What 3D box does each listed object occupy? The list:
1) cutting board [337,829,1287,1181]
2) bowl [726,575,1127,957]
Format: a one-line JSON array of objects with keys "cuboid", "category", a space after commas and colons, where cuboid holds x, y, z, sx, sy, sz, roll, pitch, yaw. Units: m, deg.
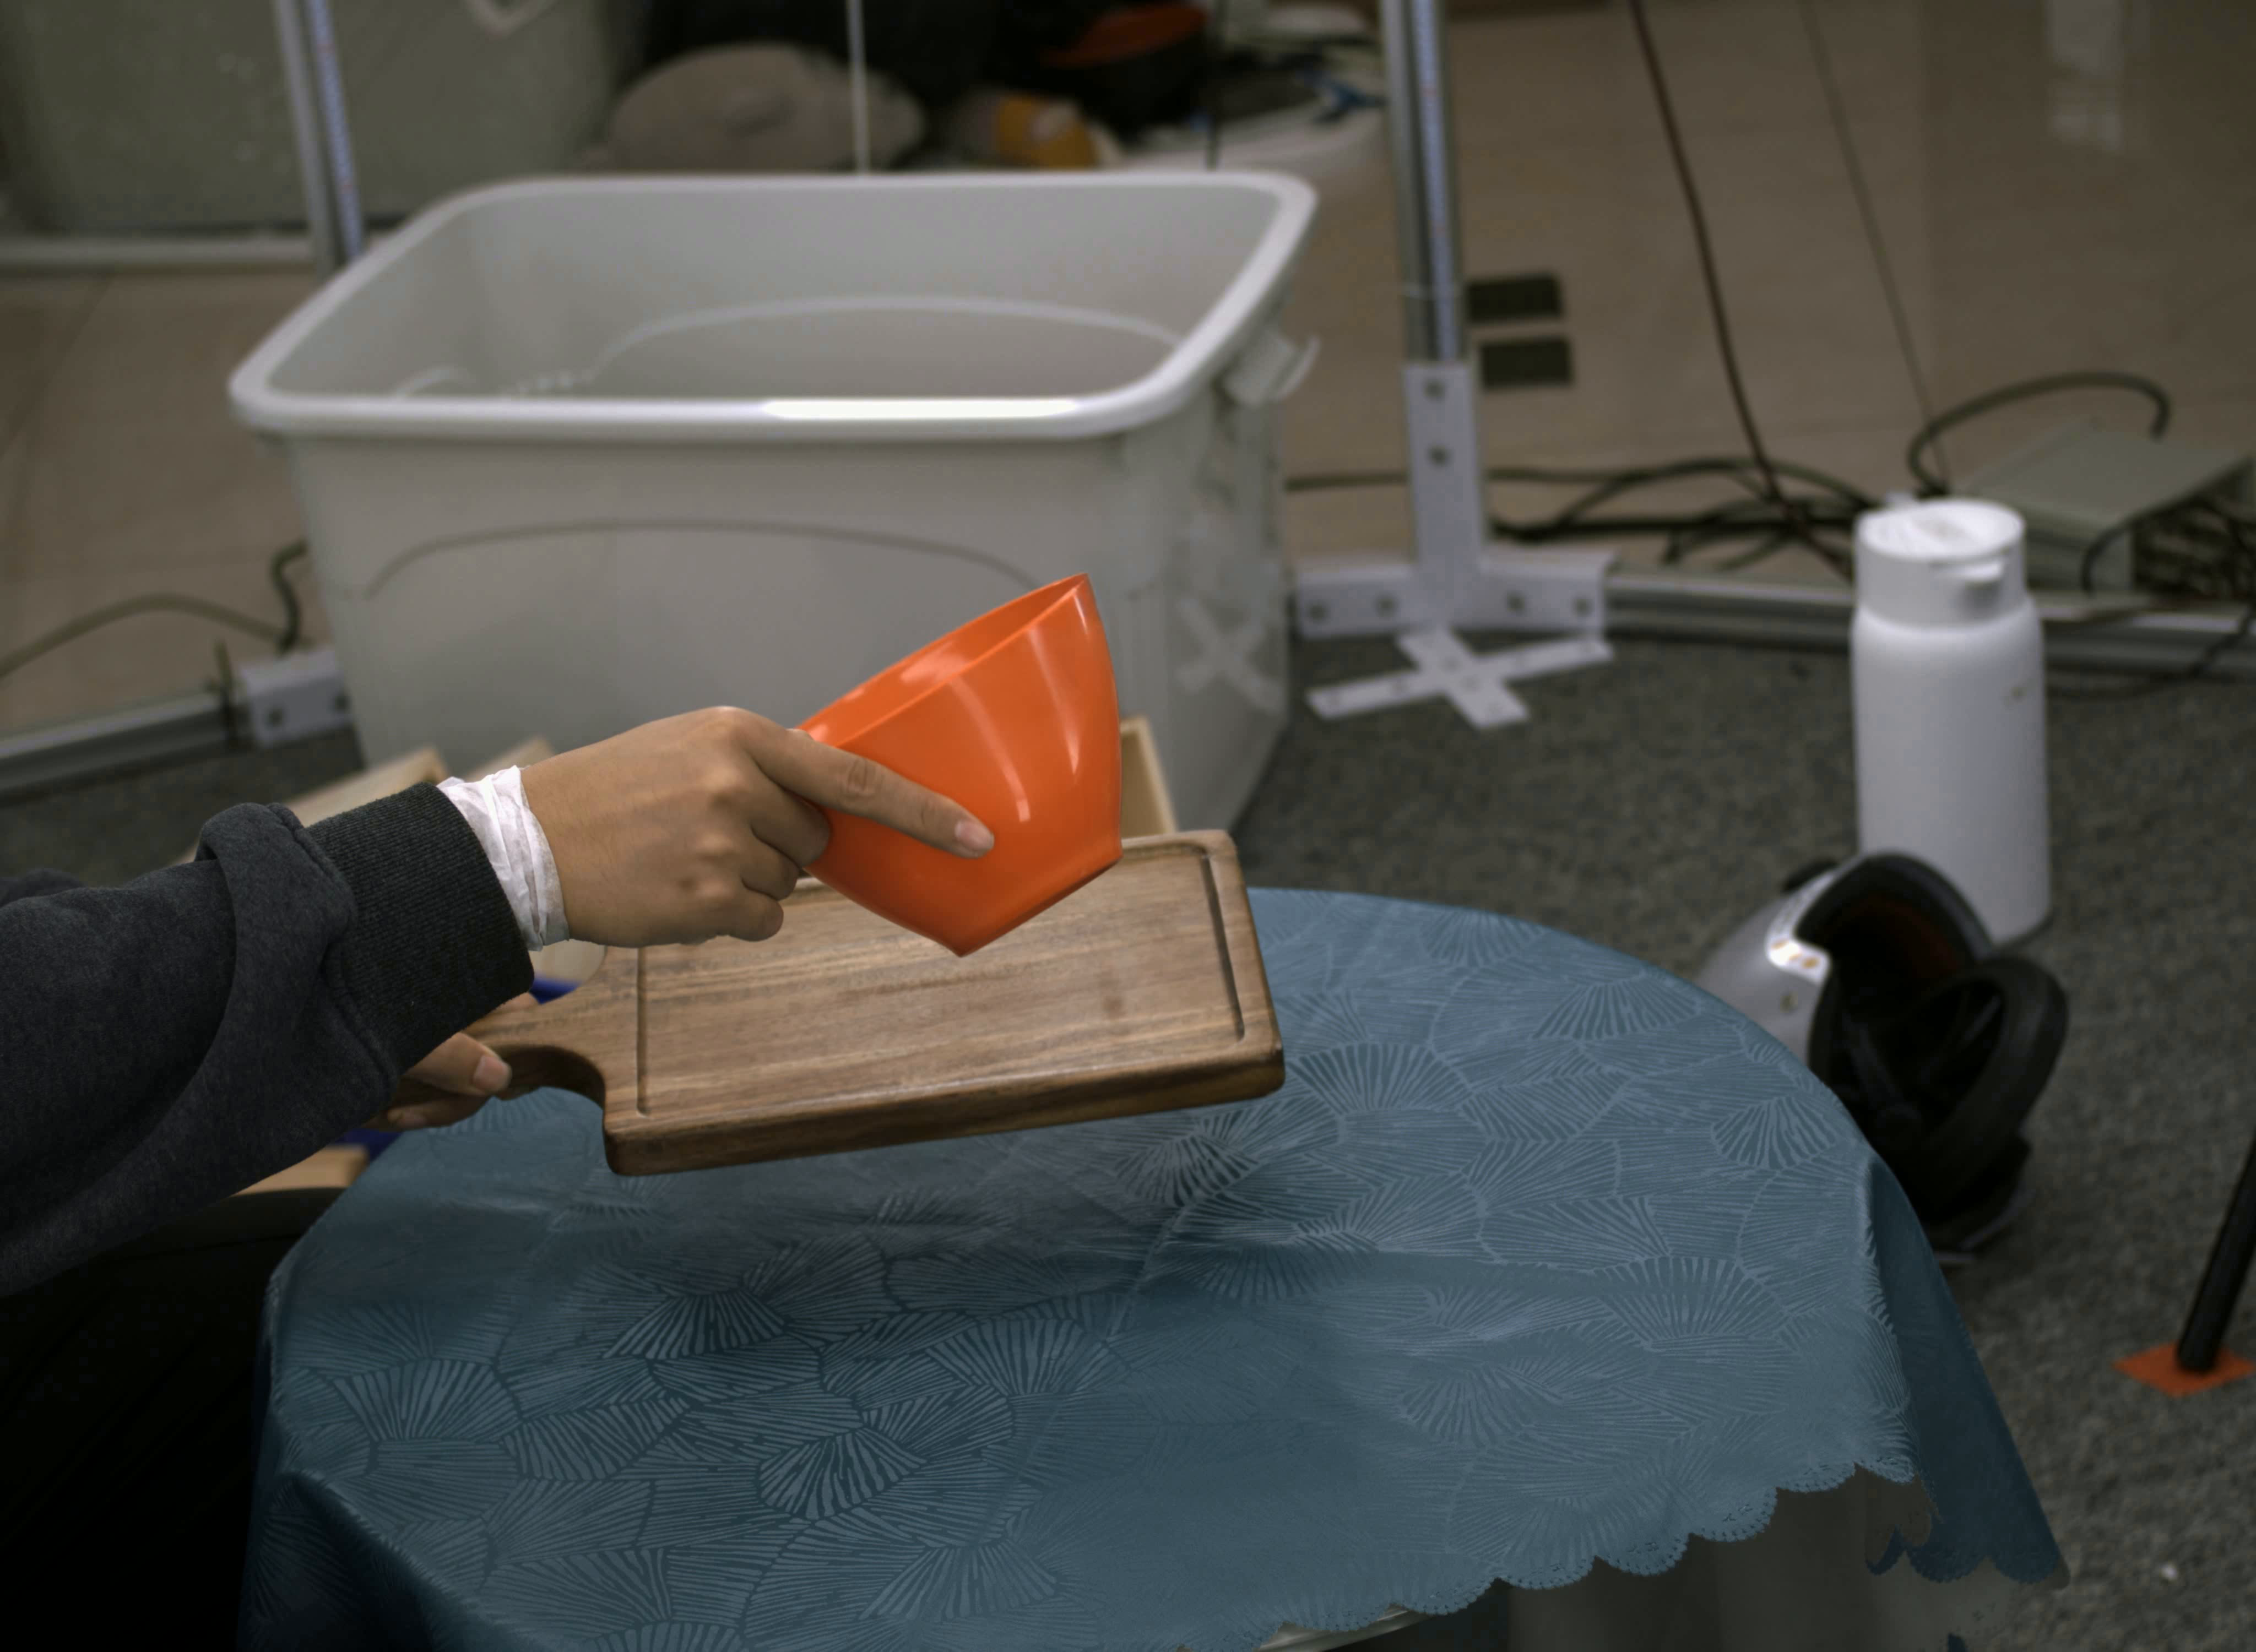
[{"cuboid": [-0.124, 0.071, 2.146, 0.351, 0.023, 0.198, -7, 27, -2], "category": "cutting board"}, {"cuboid": [-0.055, -0.014, 1.953, 0.148, 0.104, 0.148, -32, -3, -2], "category": "bowl"}]
